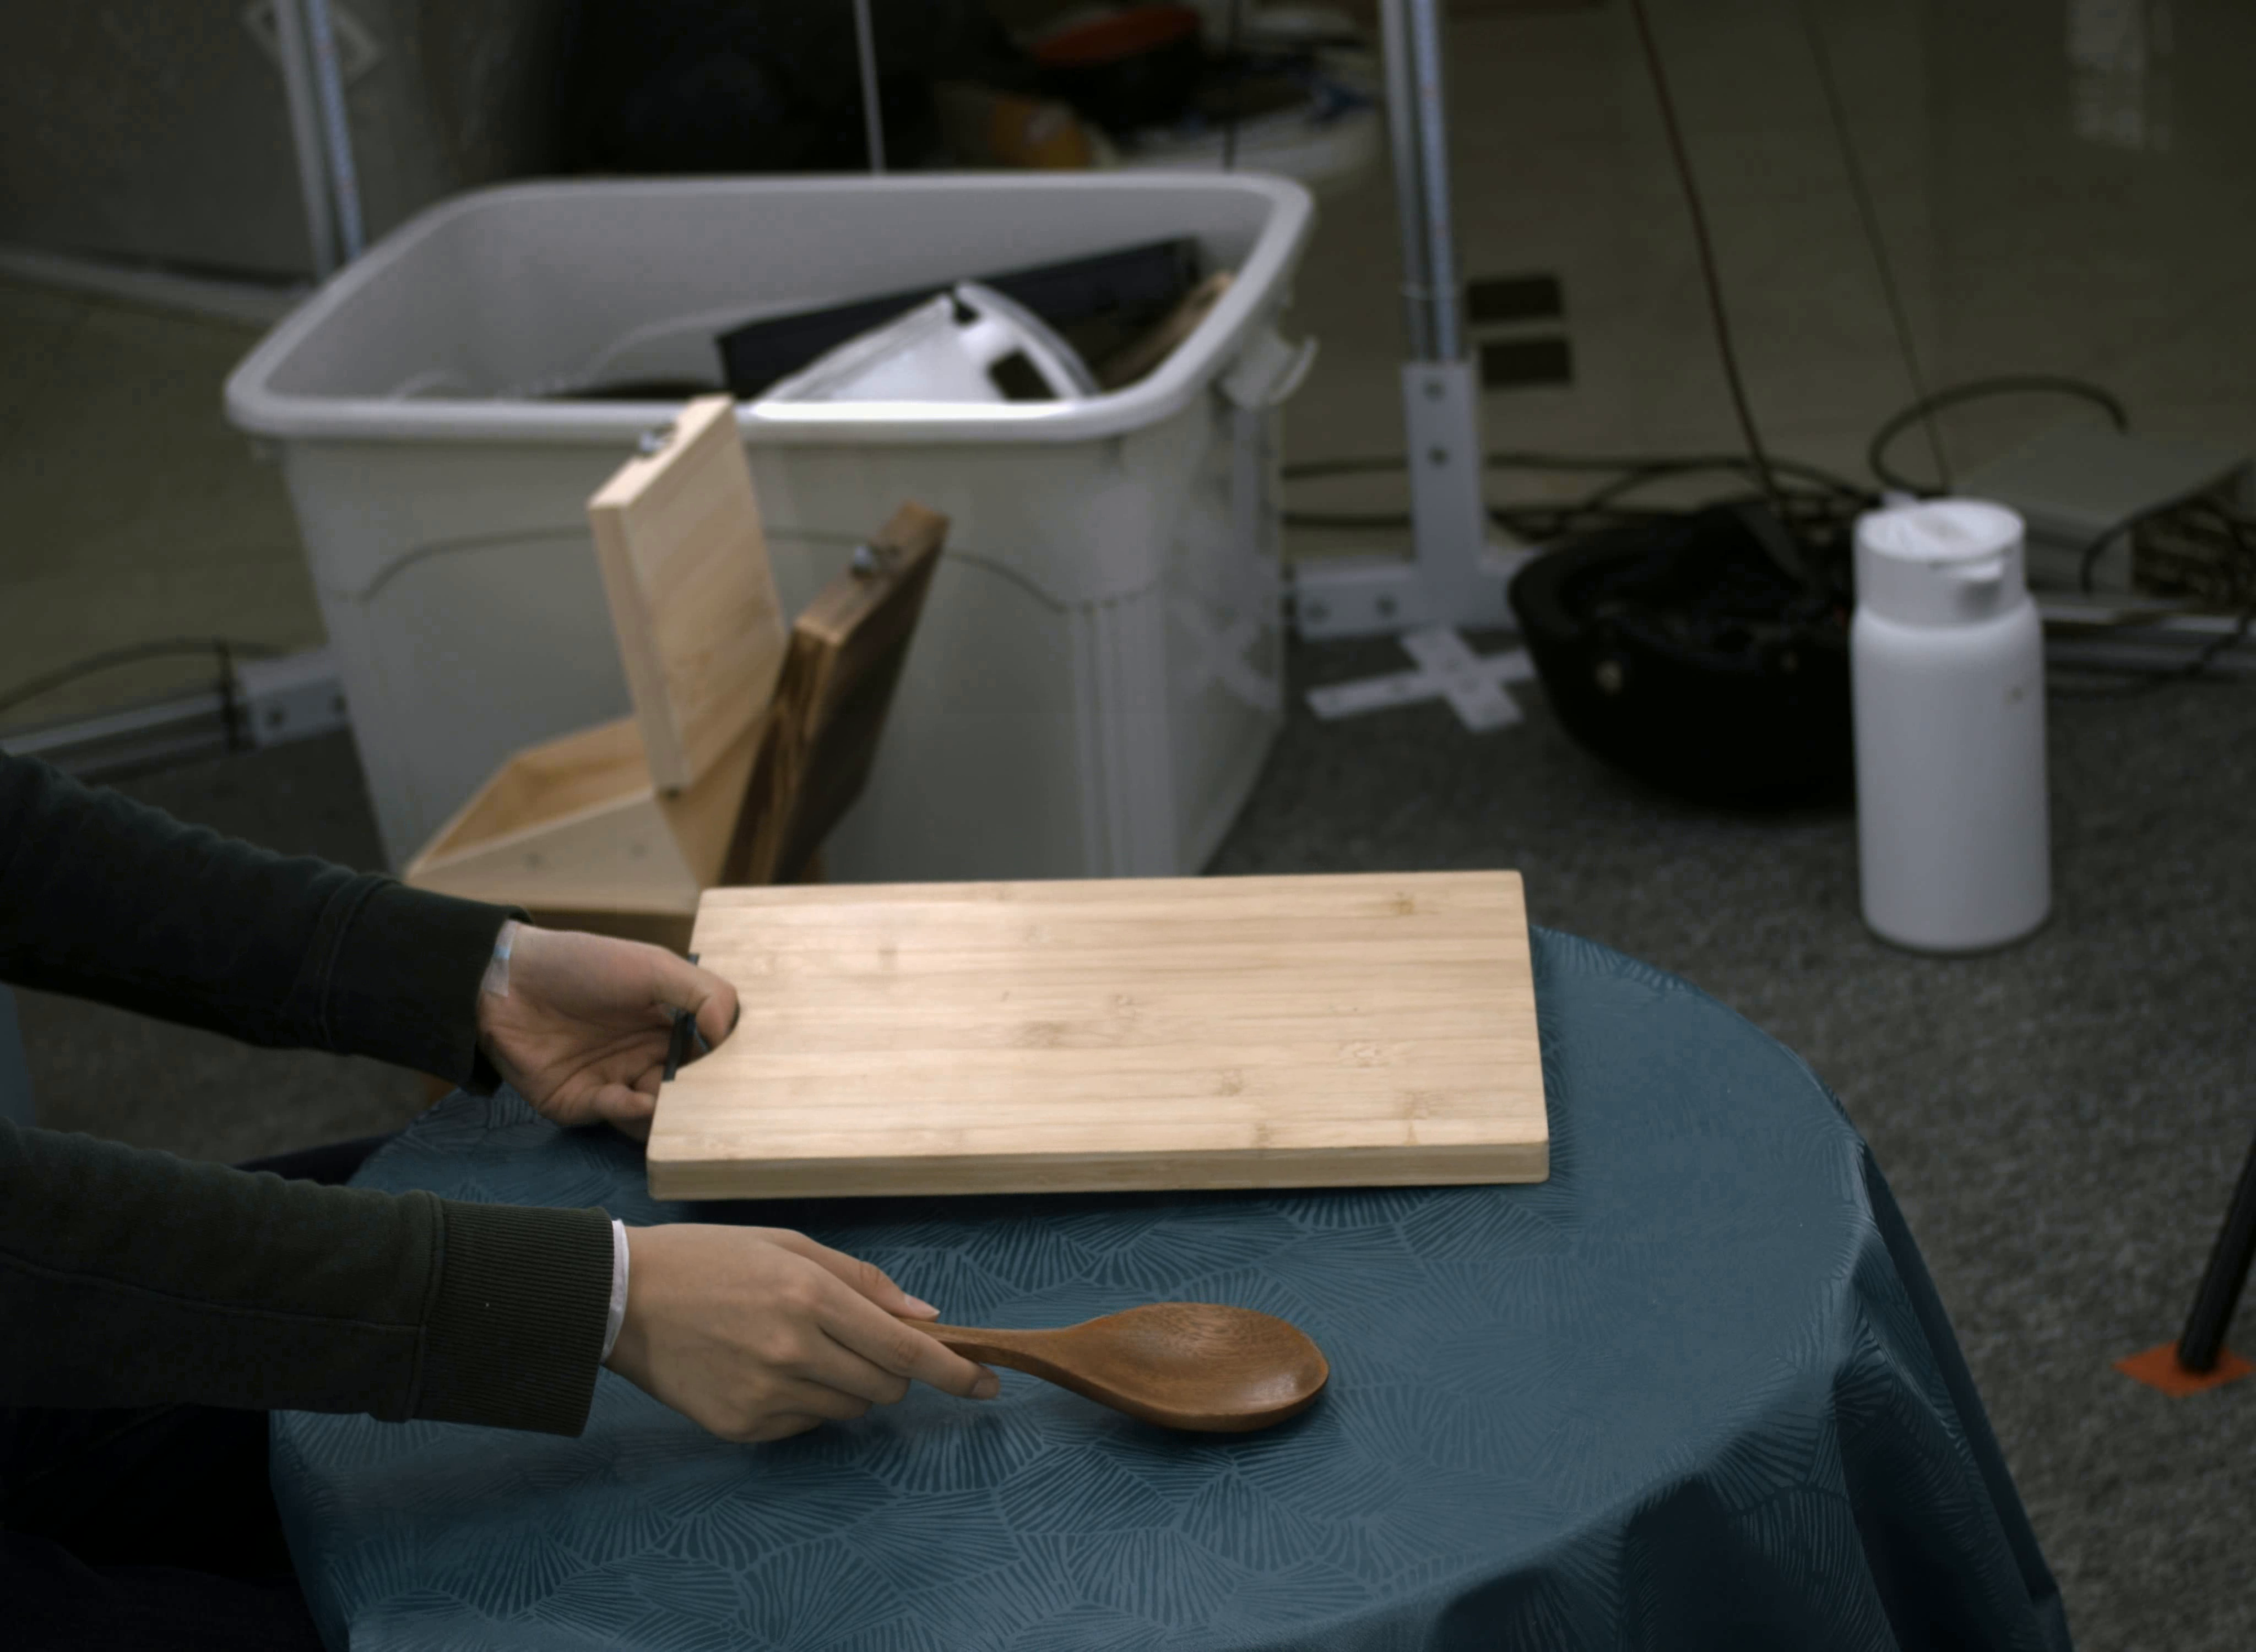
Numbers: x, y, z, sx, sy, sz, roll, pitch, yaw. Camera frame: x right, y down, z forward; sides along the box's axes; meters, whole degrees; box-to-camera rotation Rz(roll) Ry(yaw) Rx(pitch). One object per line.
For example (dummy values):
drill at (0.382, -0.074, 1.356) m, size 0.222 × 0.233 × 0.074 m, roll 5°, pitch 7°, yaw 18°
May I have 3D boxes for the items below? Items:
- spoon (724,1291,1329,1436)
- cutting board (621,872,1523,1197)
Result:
spoon at (-0.037, 0.186, 2.009) m, size 0.215 × 0.017 × 0.074 m, roll 7°, pitch 30°, yaw 4°
cutting board at (-0.016, 0.080, 2.234) m, size 0.348 × 0.024 × 0.247 m, roll -1°, pitch 24°, yaw 1°
